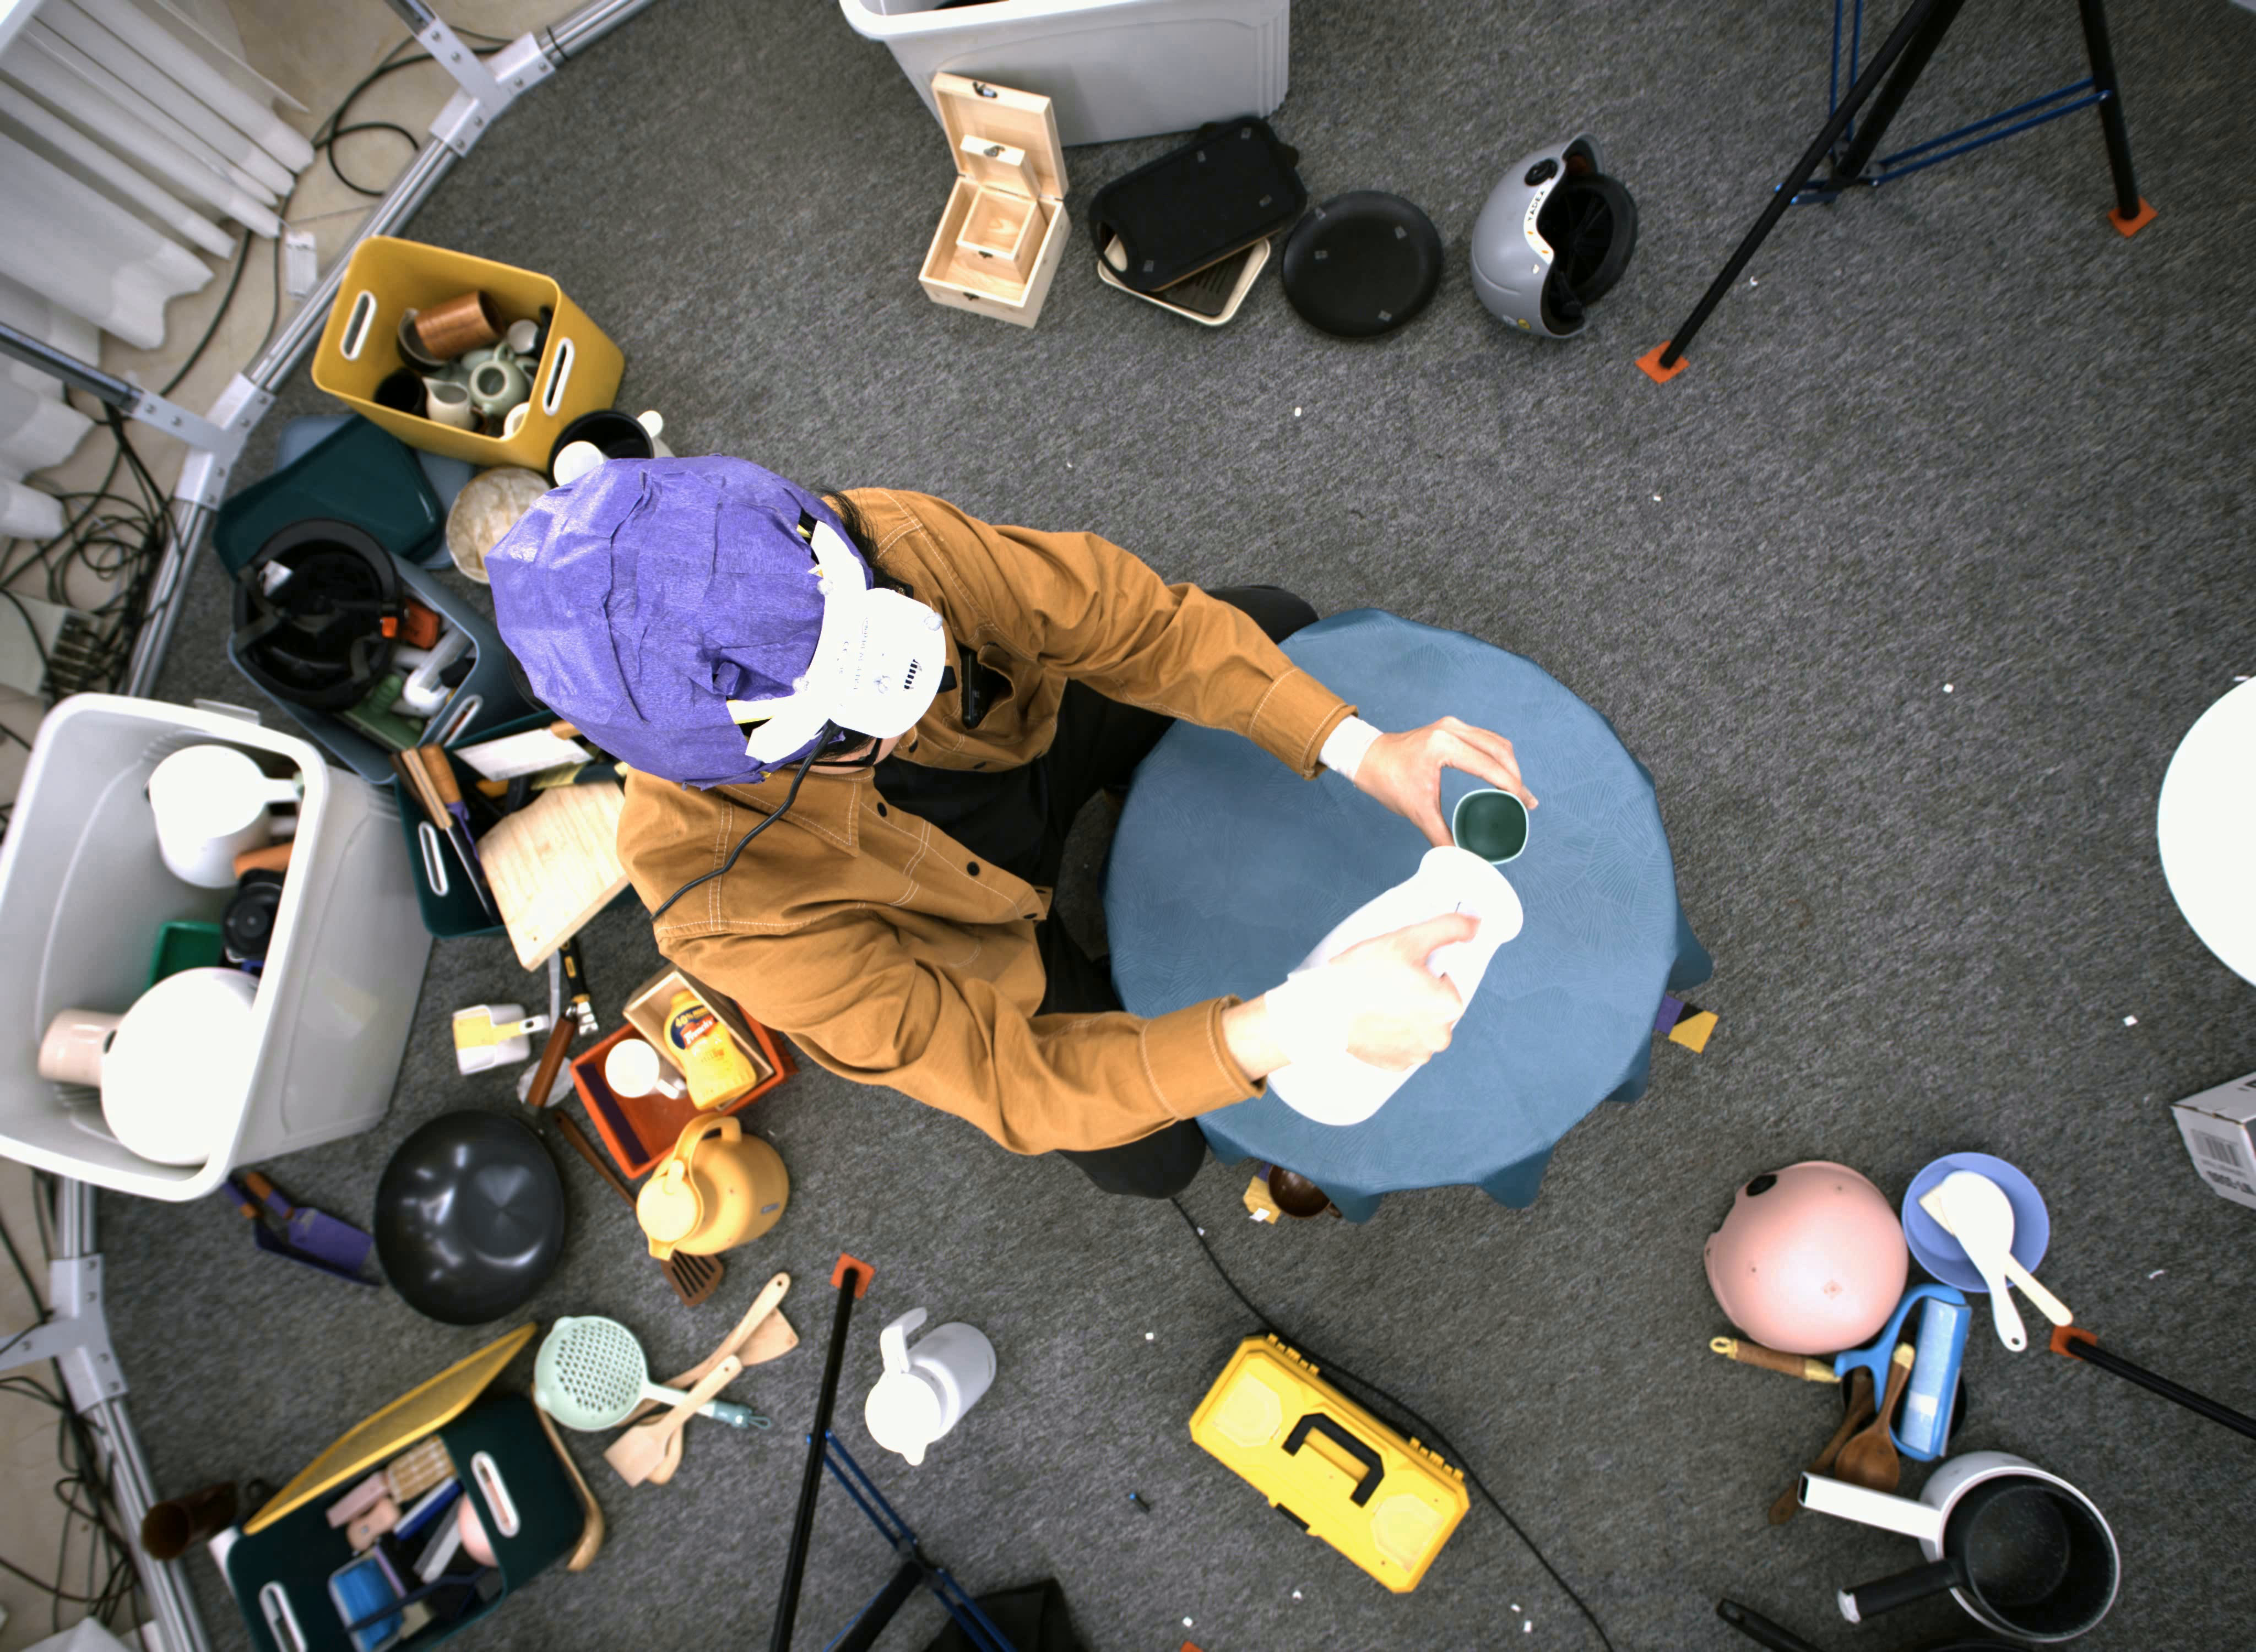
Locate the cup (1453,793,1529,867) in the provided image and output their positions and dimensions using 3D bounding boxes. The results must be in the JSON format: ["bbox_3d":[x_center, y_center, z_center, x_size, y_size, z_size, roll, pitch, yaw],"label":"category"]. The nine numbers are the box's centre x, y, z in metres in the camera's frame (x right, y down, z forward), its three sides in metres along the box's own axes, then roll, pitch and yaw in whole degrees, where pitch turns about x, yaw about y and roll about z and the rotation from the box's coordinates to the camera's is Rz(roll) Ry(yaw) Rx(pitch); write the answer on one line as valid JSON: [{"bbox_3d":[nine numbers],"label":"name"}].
[{"bbox_3d":[0.322,0.000,1.218,0.067,0.131,0.067,1,92,17],"label":"cup"}]

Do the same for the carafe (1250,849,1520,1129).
[{"bbox_3d":[0.208,0.137,1.117,0.132,0.163,0.255,35,132,3],"label":"carafe"}]
